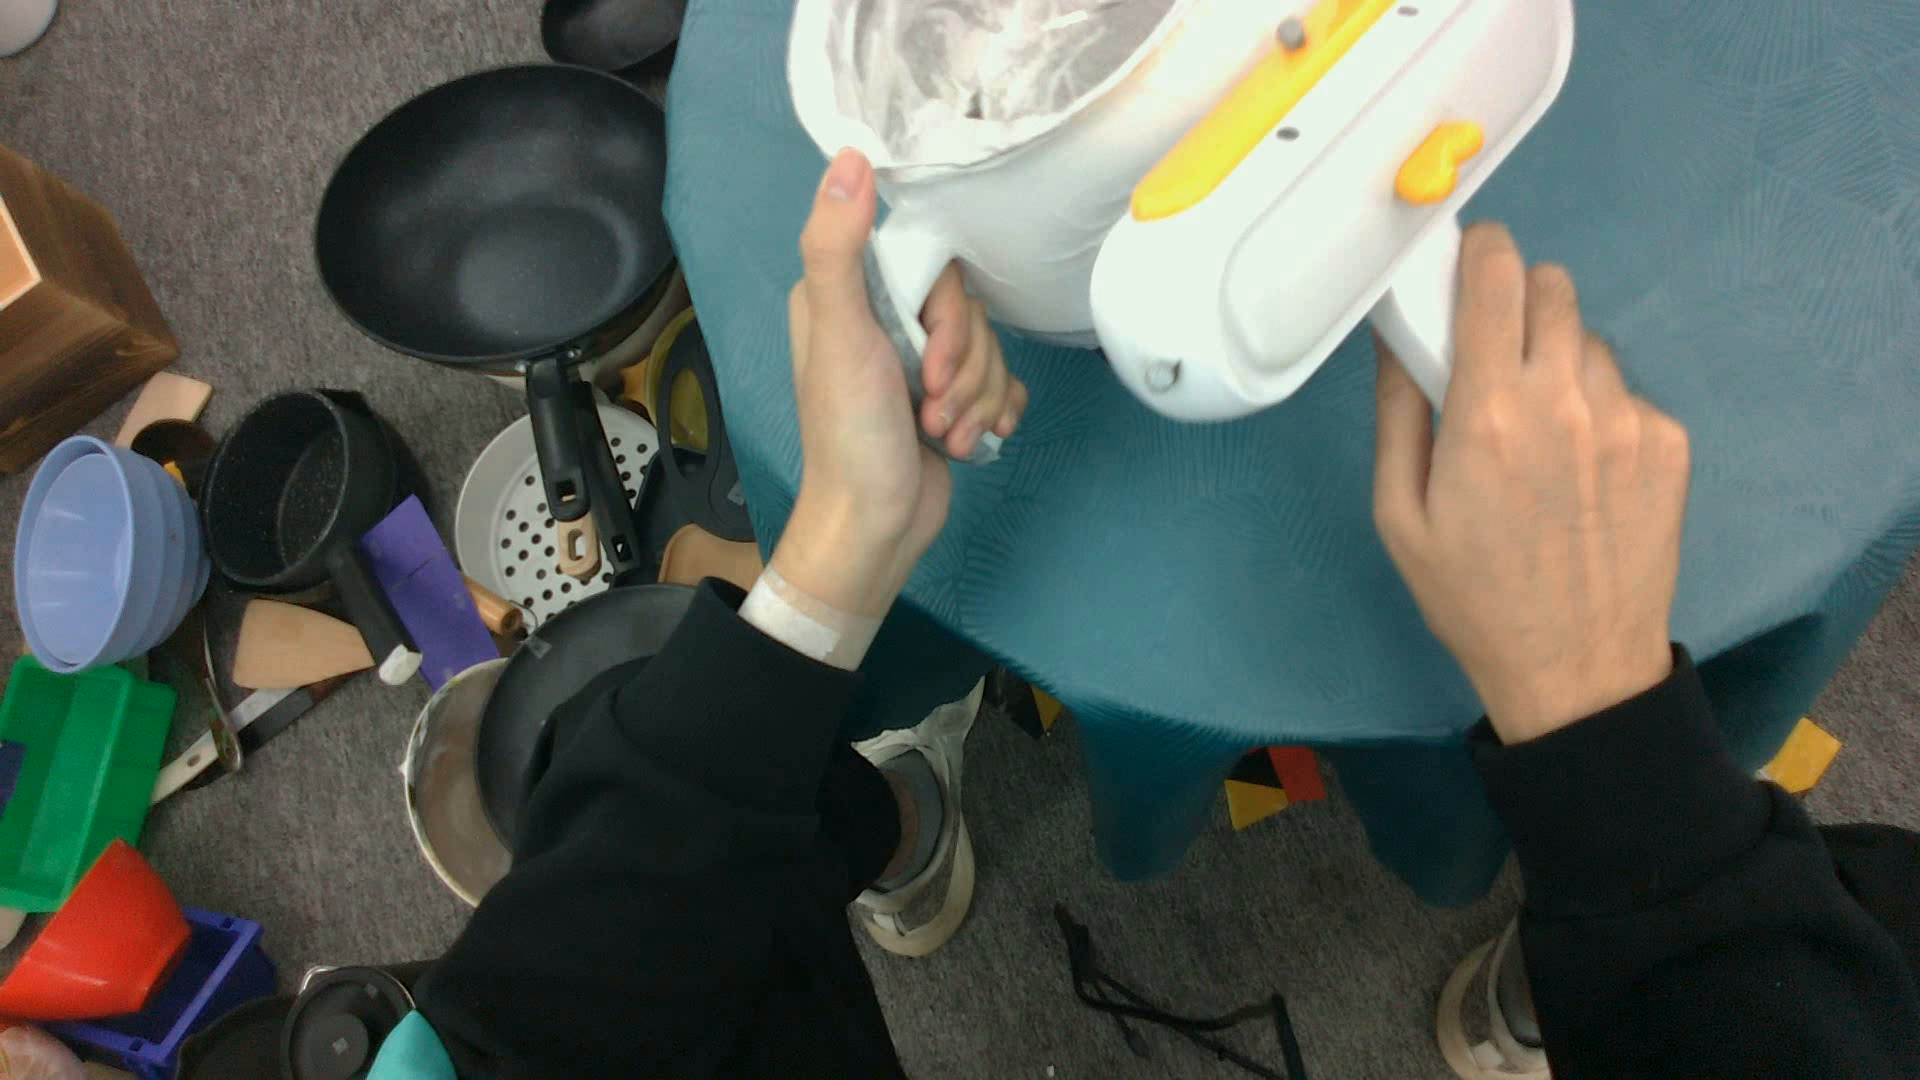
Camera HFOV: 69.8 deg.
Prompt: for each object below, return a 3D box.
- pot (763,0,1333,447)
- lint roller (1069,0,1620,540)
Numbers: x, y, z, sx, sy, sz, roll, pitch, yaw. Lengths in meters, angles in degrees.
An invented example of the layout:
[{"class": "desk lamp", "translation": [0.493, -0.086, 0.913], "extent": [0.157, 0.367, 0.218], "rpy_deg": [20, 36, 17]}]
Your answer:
[{"class": "pot", "translation": [0.024, -0.153, 0.495], "extent": [0.178, 0.136, 0.234], "rpy_deg": [24, 81, 41]}, {"class": "lint roller", "translation": [0.148, -0.073, 0.448], "extent": [0.192, 0.074, 0.193], "rpy_deg": [48, 67, -25]}]
